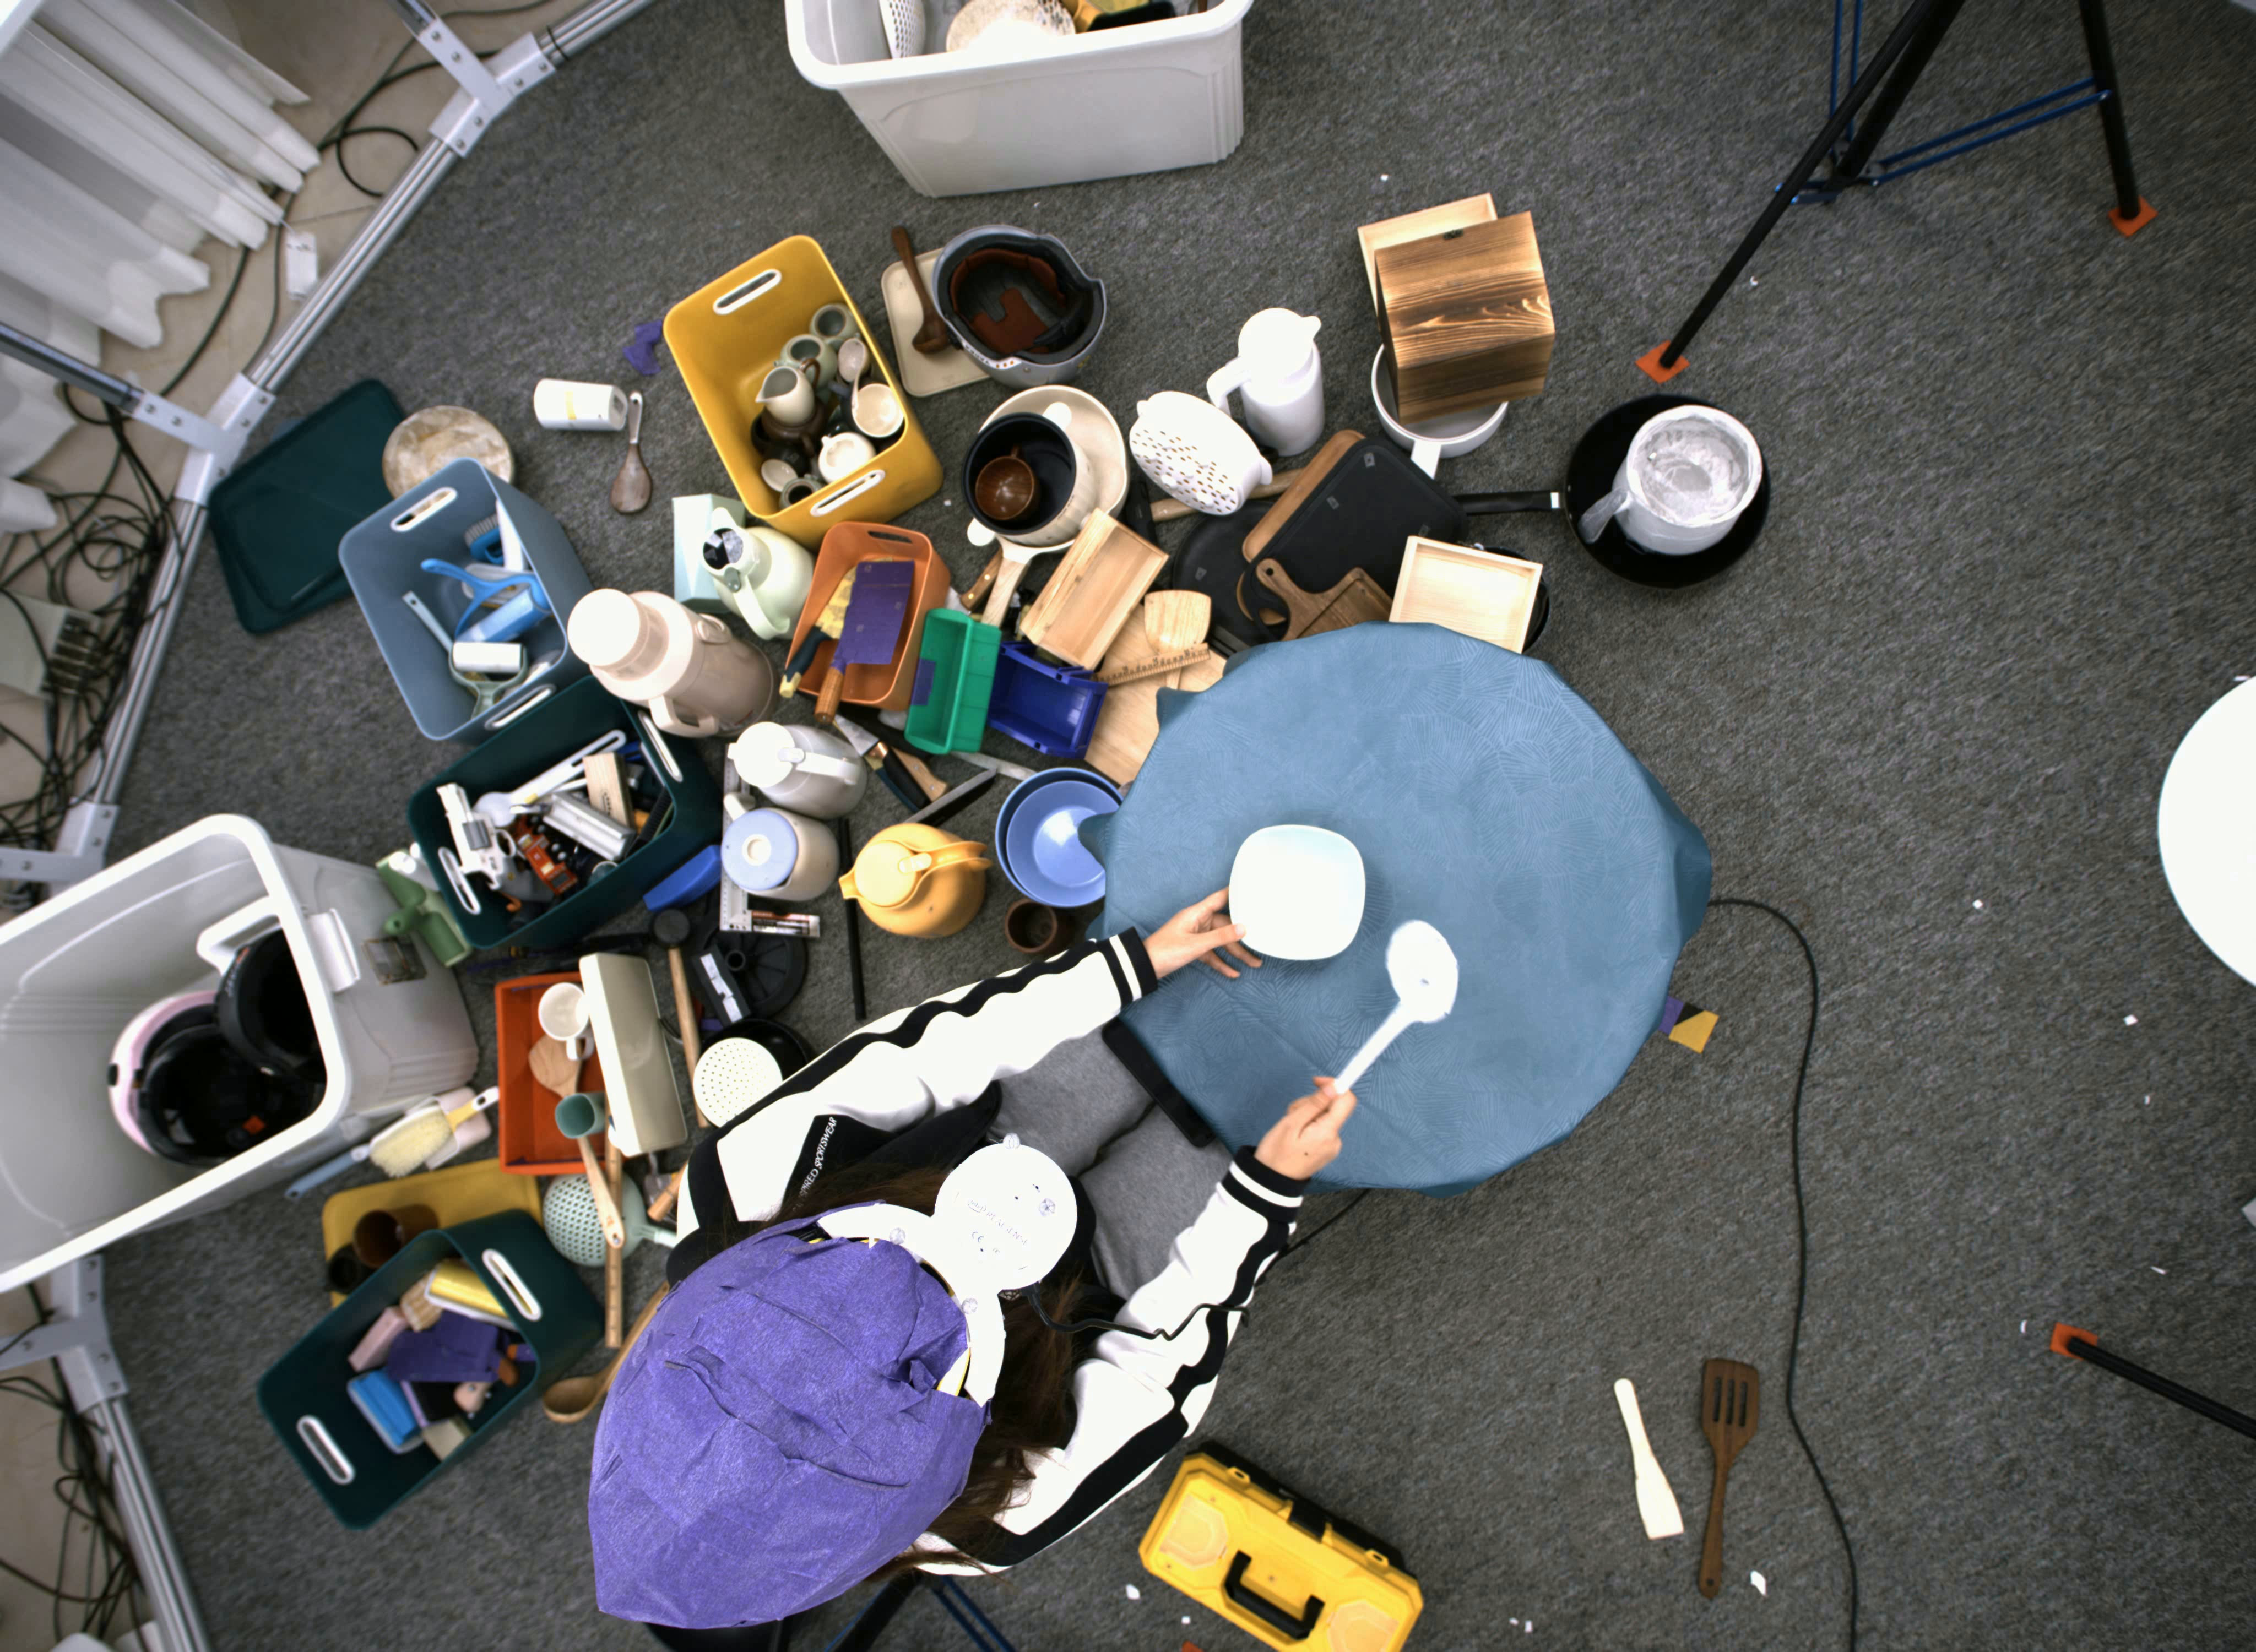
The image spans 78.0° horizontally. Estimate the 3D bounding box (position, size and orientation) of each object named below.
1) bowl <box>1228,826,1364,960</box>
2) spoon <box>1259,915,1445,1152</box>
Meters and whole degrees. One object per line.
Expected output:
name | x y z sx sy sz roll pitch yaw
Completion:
bowl | 0.177 0.071 1.451 0.152 0.058 0.151 -1 86 11
spoon | 0.201 0.201 1.314 0.280 0.060 0.099 -49 42 14
